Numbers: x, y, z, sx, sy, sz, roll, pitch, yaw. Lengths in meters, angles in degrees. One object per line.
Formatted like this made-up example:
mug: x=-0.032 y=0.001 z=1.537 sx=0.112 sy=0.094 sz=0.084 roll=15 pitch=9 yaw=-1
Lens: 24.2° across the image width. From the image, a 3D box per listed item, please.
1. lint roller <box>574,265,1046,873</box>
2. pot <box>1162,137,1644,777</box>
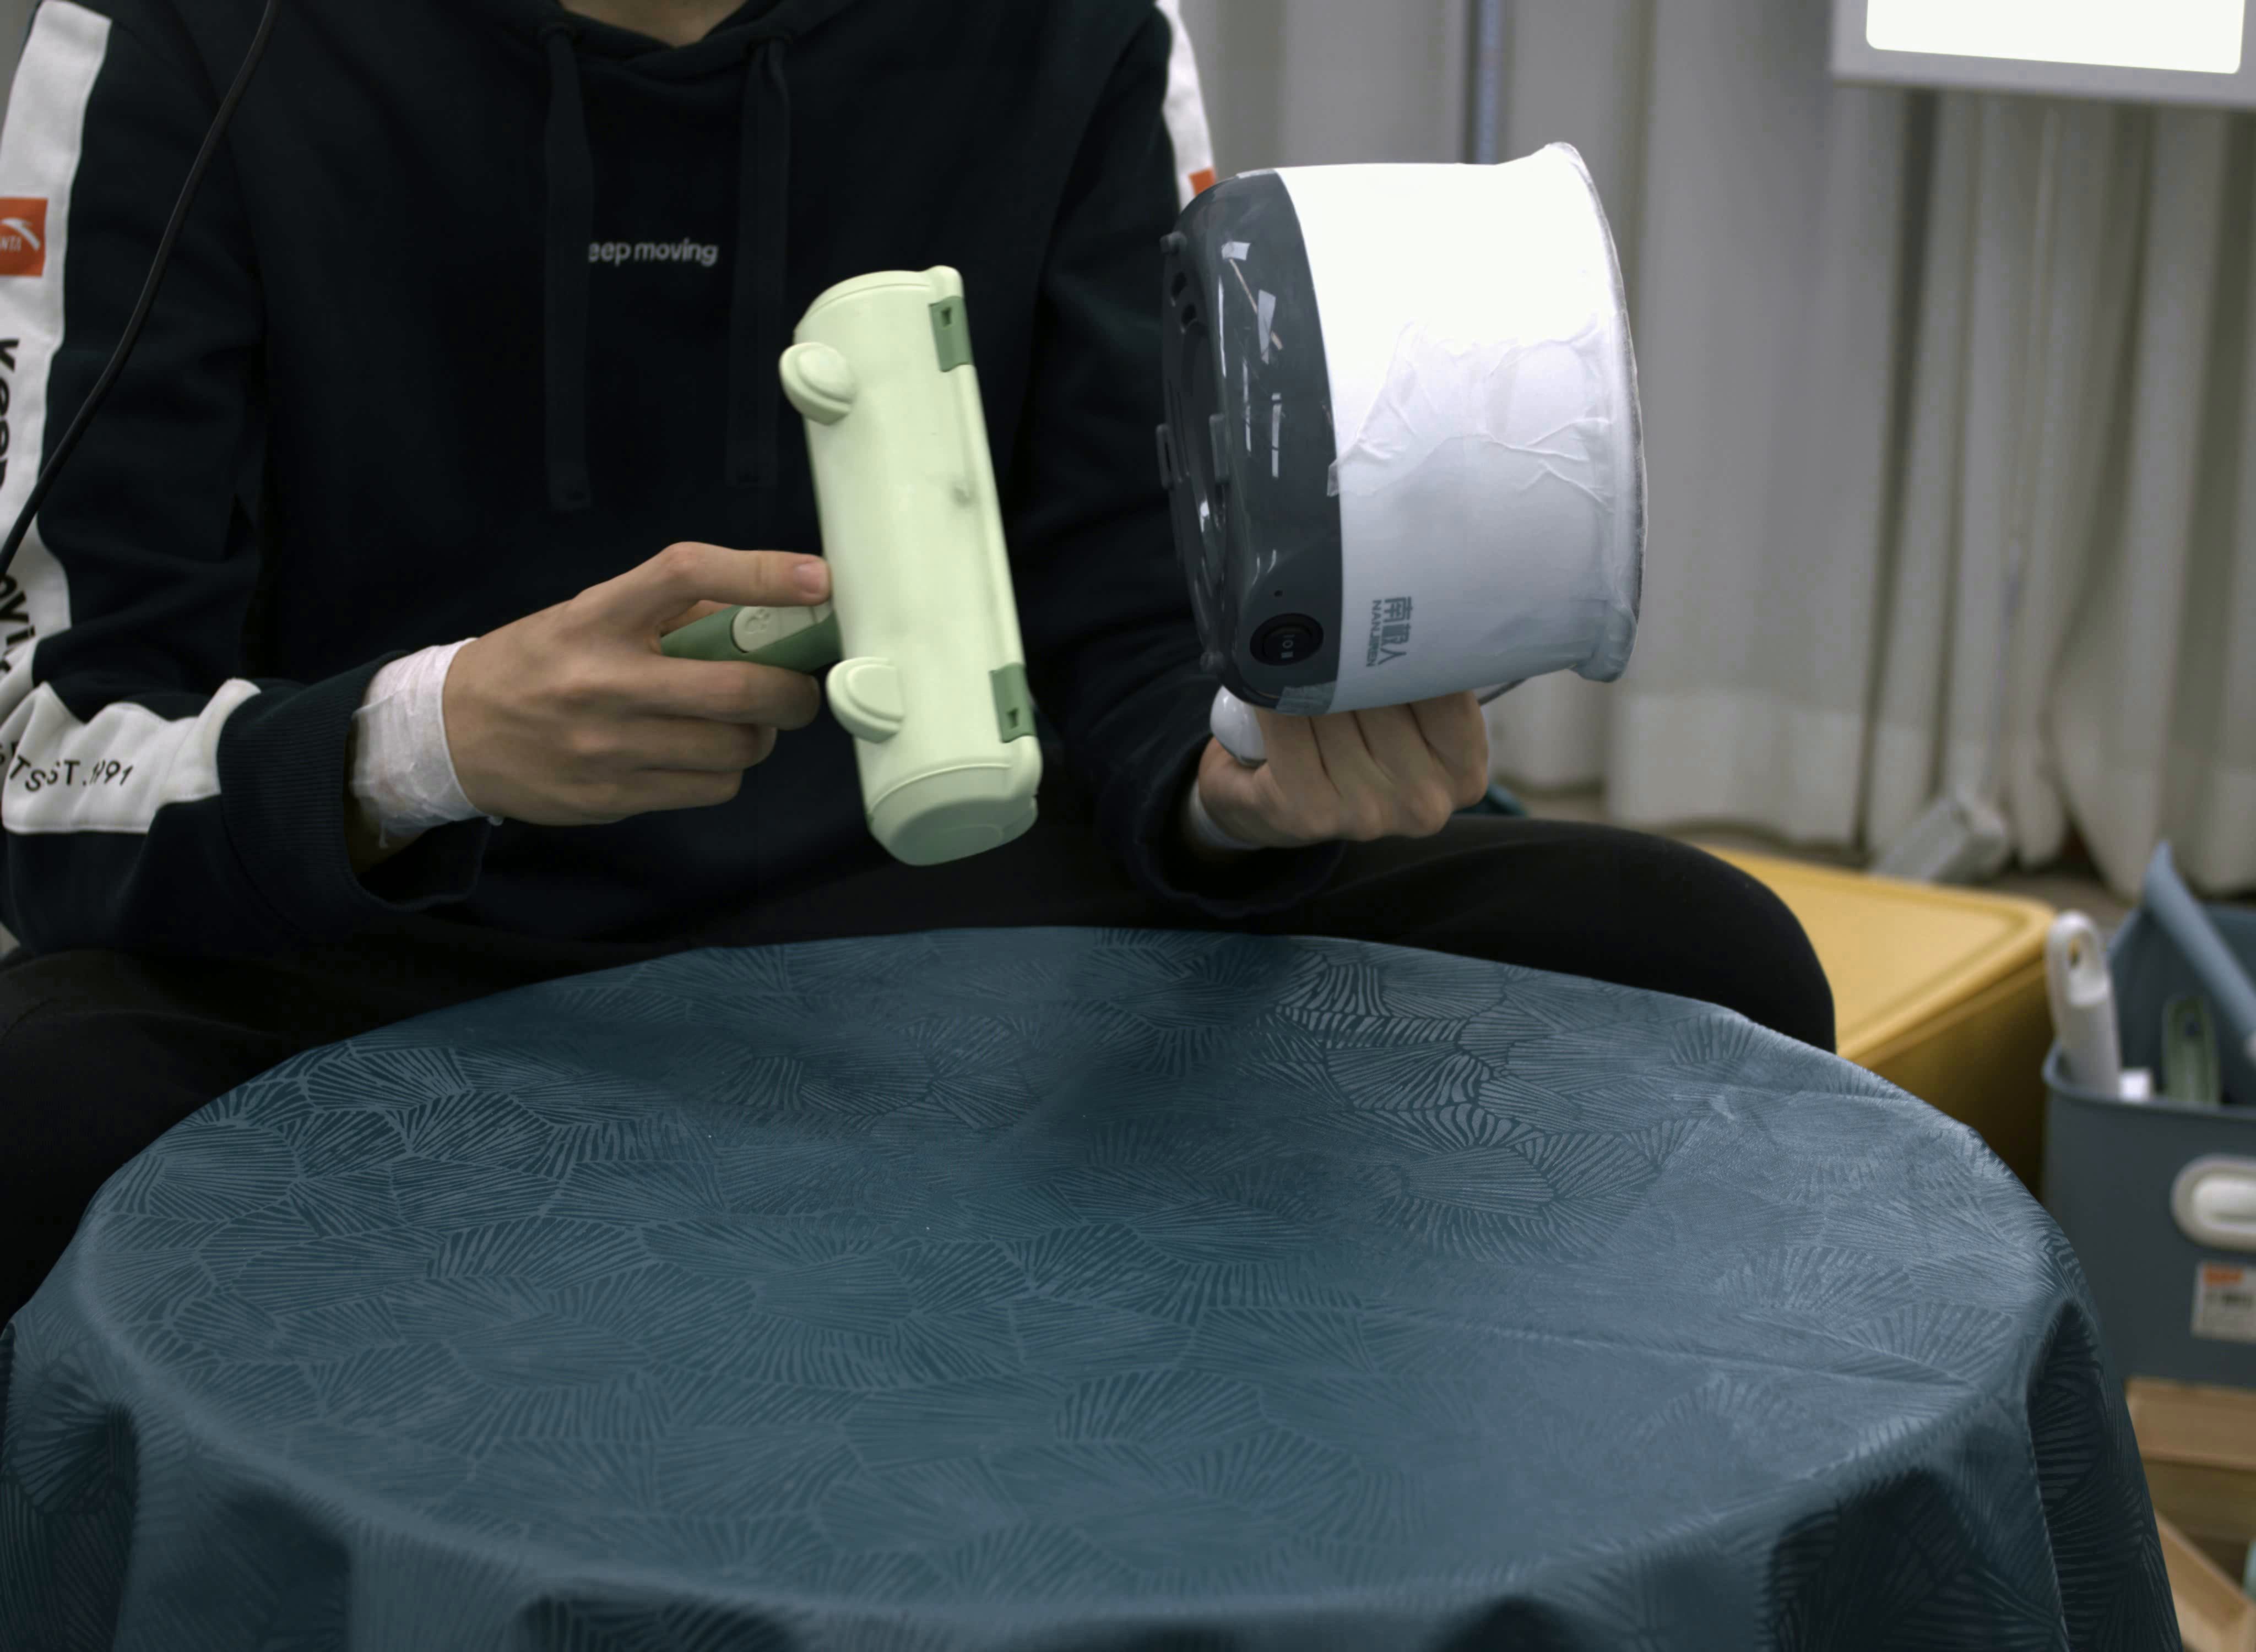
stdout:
lint roller: x=-0.117 y=-0.067 z=1.690 sx=0.182 sy=0.197 sz=0.083 roll=-21 pitch=-27 yaw=21
pot: x=0.085 y=-0.110 z=1.724 sx=0.136 sy=0.236 sz=0.177 roll=-6 pitch=50 yaw=-6
